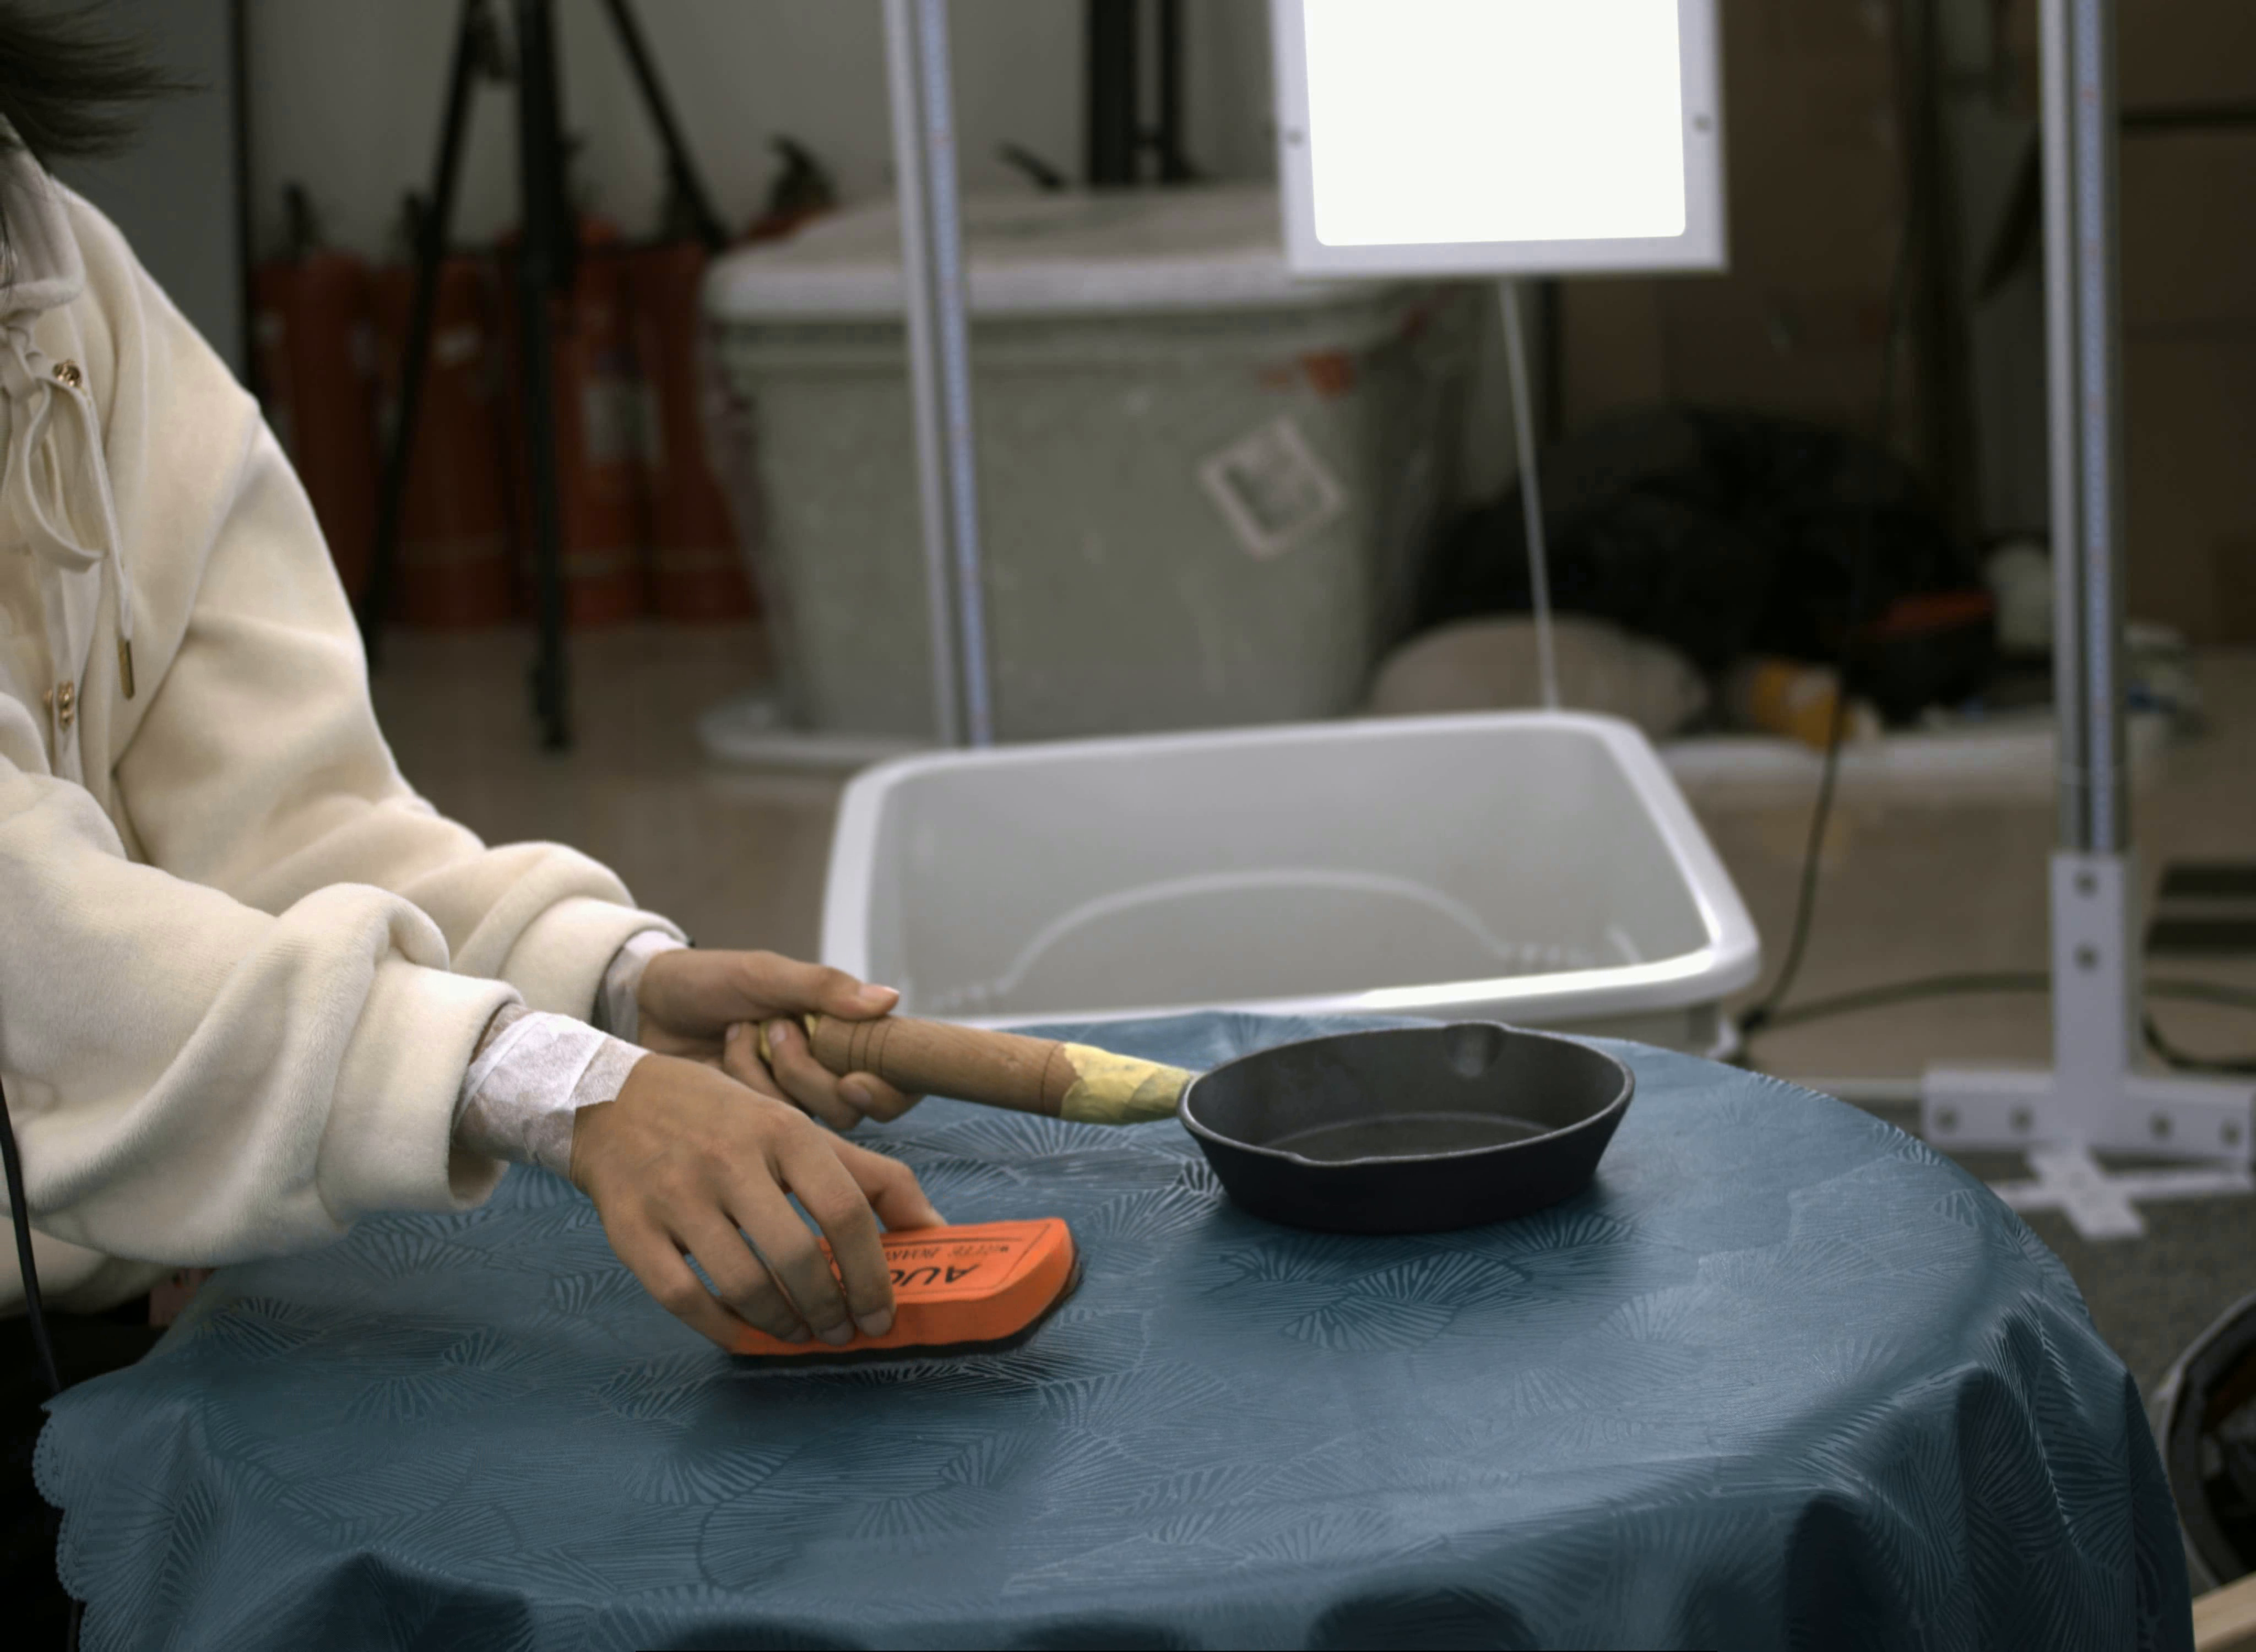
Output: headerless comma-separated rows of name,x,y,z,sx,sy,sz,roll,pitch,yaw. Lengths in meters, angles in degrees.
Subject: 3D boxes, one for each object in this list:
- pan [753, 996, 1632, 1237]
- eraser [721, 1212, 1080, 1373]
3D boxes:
pan,0.018,0.094,1.915,0.329,0.050,0.165,3,16,25
eraser,-0.072,0.148,1.745,0.110,0.023,0.058,-7,23,32
